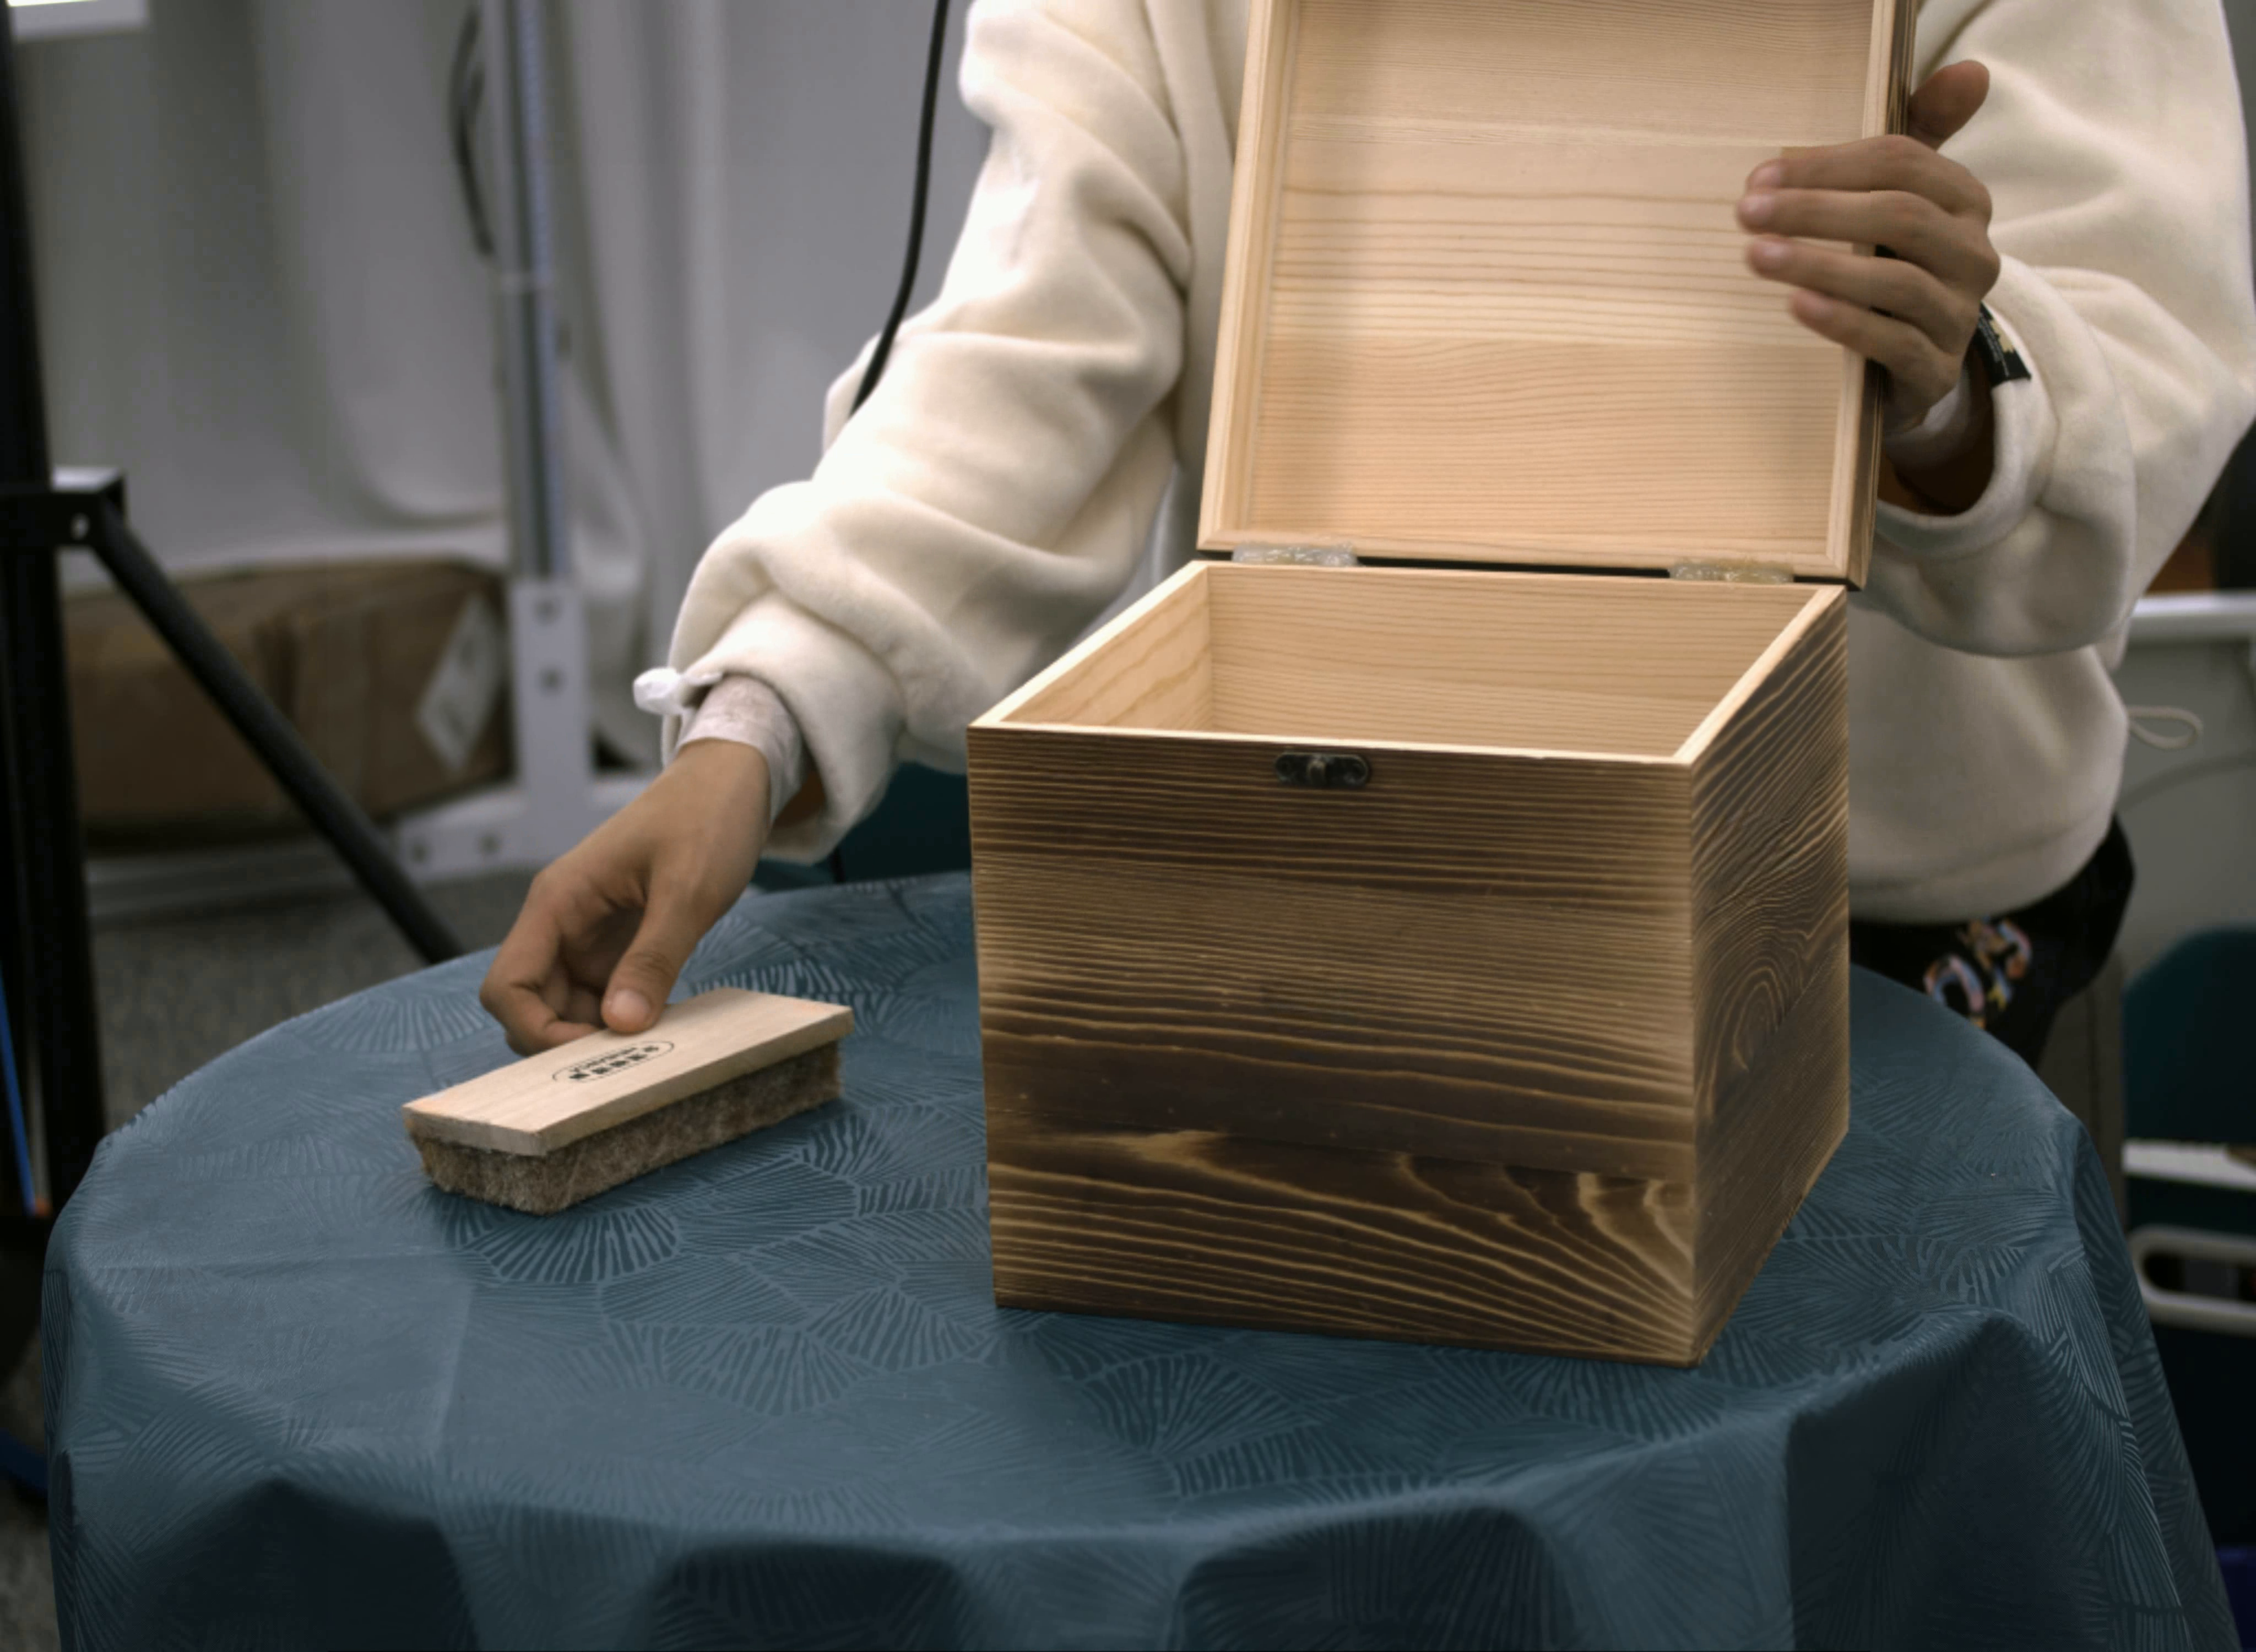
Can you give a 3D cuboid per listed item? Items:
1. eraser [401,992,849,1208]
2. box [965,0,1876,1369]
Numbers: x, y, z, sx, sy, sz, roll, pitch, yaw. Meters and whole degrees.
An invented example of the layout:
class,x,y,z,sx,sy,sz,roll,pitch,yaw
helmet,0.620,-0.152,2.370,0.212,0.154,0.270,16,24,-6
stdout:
class,x,y,z,sx,sy,sz,roll,pitch,yaw
eraser,-0.151,0.082,1.622,0.058,0.029,0.136,7,17,41
box,0.096,-0.075,1.524,0.211,0.375,0.318,2,16,19
